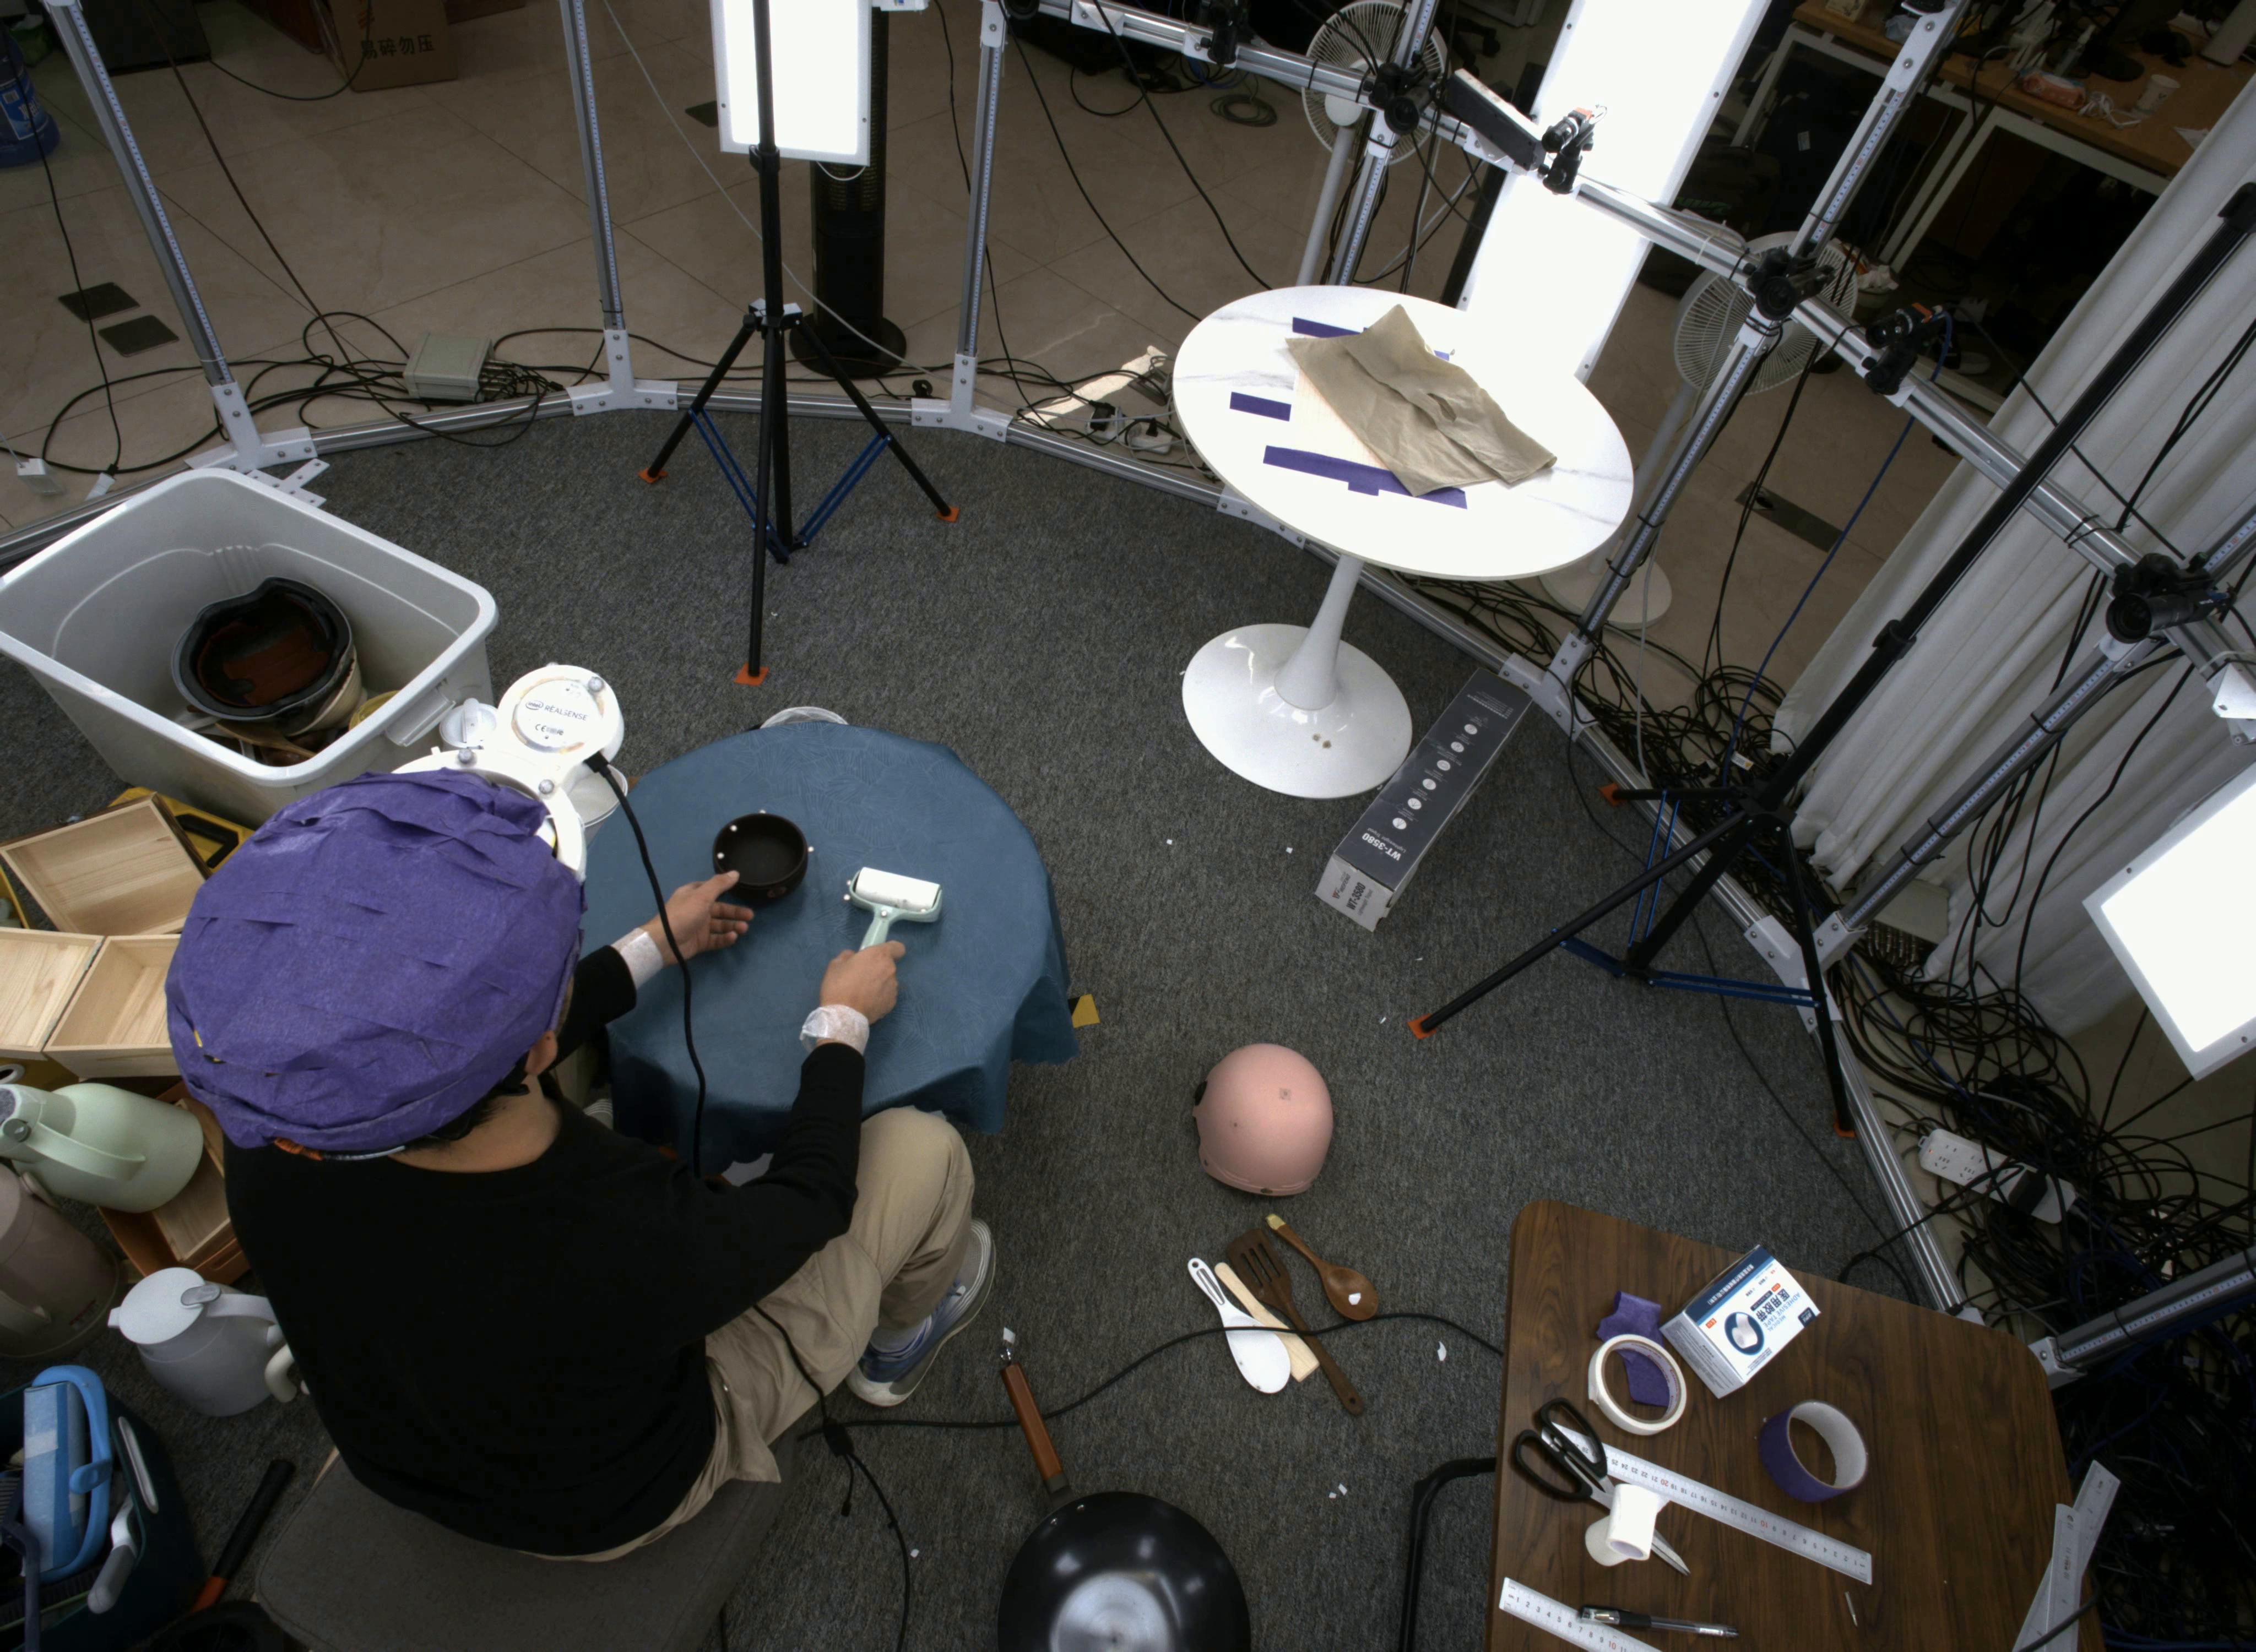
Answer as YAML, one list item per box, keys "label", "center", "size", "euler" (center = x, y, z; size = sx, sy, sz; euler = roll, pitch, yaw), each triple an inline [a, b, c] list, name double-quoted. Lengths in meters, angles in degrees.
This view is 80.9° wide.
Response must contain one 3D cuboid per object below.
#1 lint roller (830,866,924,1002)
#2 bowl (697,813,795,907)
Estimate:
- label: "lint roller"
  center: [-0.324, 0.128, 1.598]
  size: [0.116, 0.049, 0.194]
  euler: [14, 40, -4]
- label: "bowl"
  center: [-0.478, 0.049, 1.622]
  size: [0.118, 0.071, 0.116]
  euler: [8, 53, -9]
